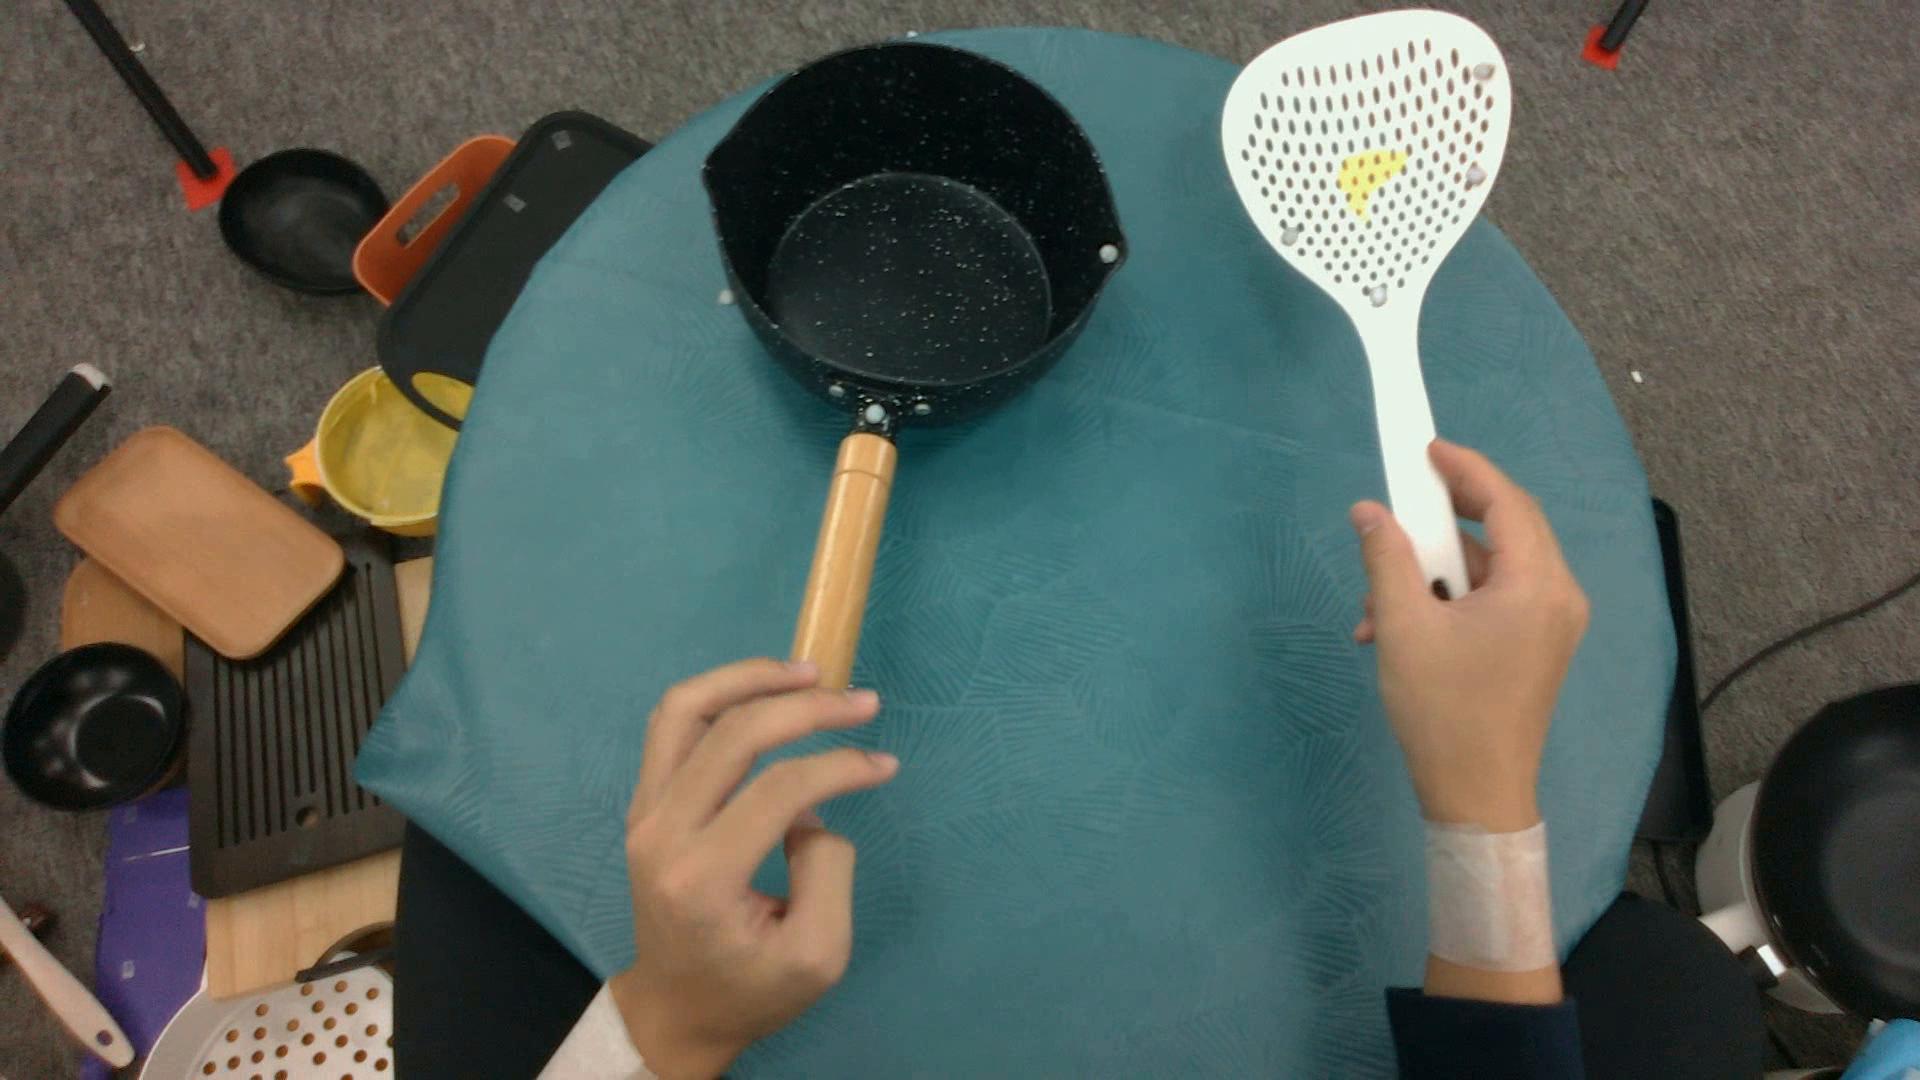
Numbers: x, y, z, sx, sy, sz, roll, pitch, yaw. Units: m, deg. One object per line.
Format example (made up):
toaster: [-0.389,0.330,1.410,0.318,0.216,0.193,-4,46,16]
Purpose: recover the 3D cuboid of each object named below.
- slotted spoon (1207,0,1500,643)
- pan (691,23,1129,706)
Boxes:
slotted spoon: [0.193,-0.116,0.624,0.136,0.050,0.349,-11,55,17]
pan: [-0.036,-0.078,0.633,0.207,0.108,0.344,10,68,-3]
